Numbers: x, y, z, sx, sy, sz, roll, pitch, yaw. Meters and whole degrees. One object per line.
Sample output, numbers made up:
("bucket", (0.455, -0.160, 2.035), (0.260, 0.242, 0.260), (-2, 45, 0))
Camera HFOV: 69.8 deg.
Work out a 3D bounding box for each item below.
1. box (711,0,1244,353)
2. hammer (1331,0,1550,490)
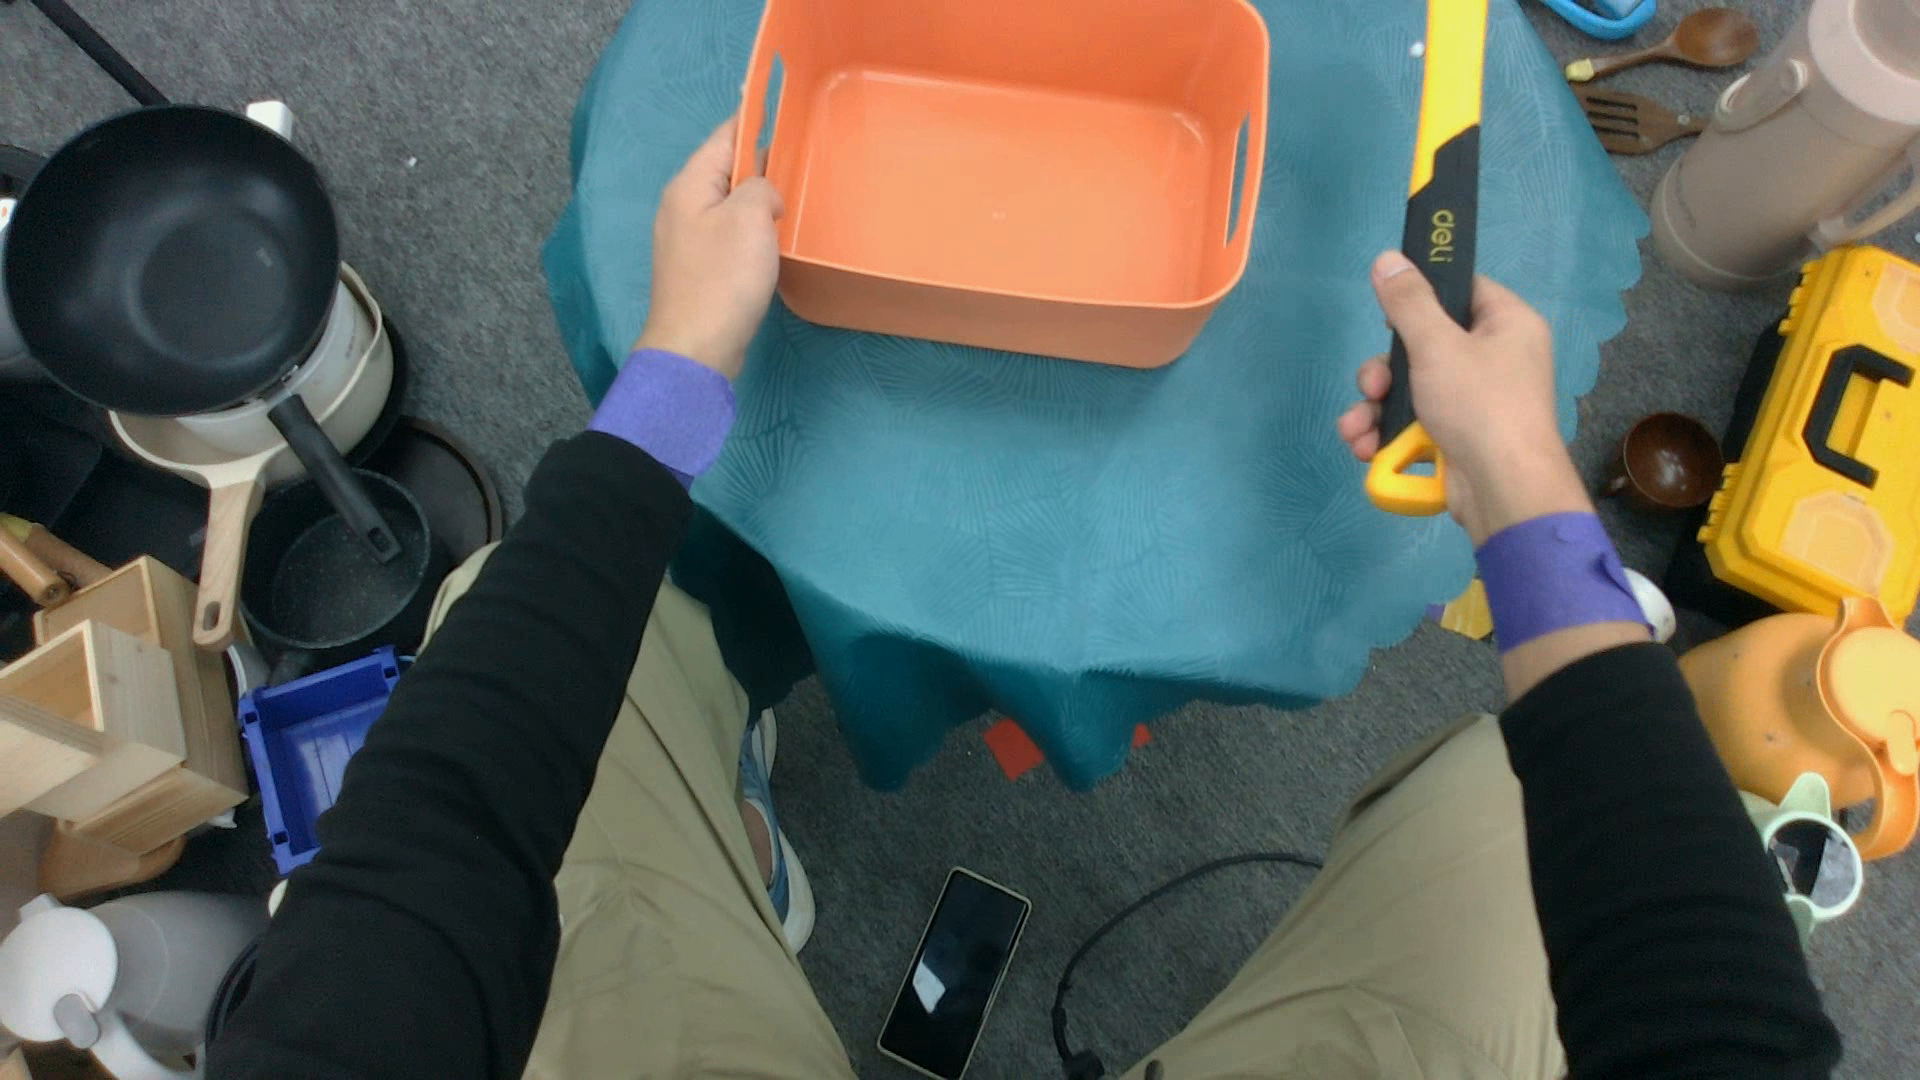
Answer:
("box", (0.012, -0.211, 0.769), (0.273, 0.102, 0.200), (7, 74, 1))
("hammer", (0.228, -0.186, 0.706), (0.131, 0.032, 0.339), (6, 72, 15))
